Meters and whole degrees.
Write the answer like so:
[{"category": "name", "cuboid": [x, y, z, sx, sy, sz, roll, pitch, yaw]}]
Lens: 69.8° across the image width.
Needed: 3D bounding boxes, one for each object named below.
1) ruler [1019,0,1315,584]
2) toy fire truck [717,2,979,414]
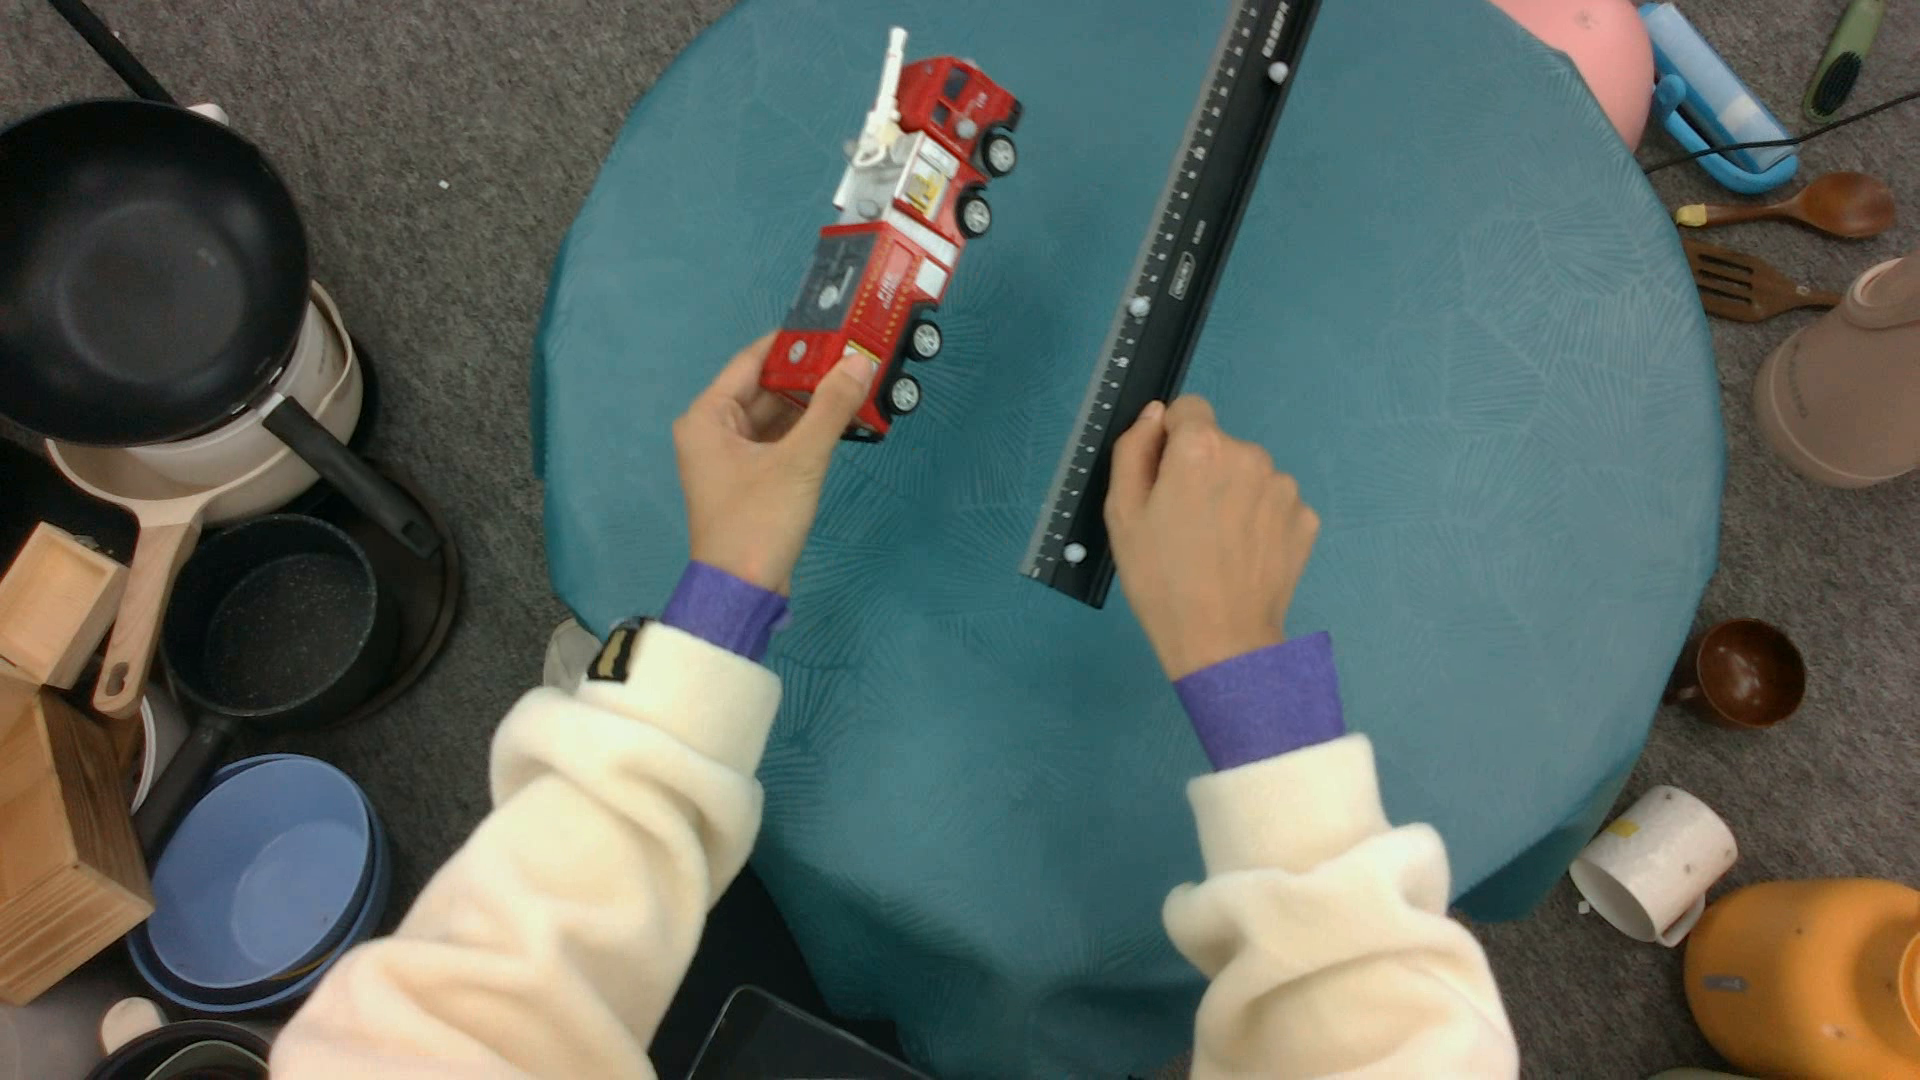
[{"category": "ruler", "cuboid": [0.098, -0.131, 0.593, 0.039, 0.017, 0.313, 25, 76, -13]}, {"category": "toy fire truck", "cuboid": [-0.047, -0.139, 0.594, 0.054, 0.070, 0.168, 11, 78, 39]}]
